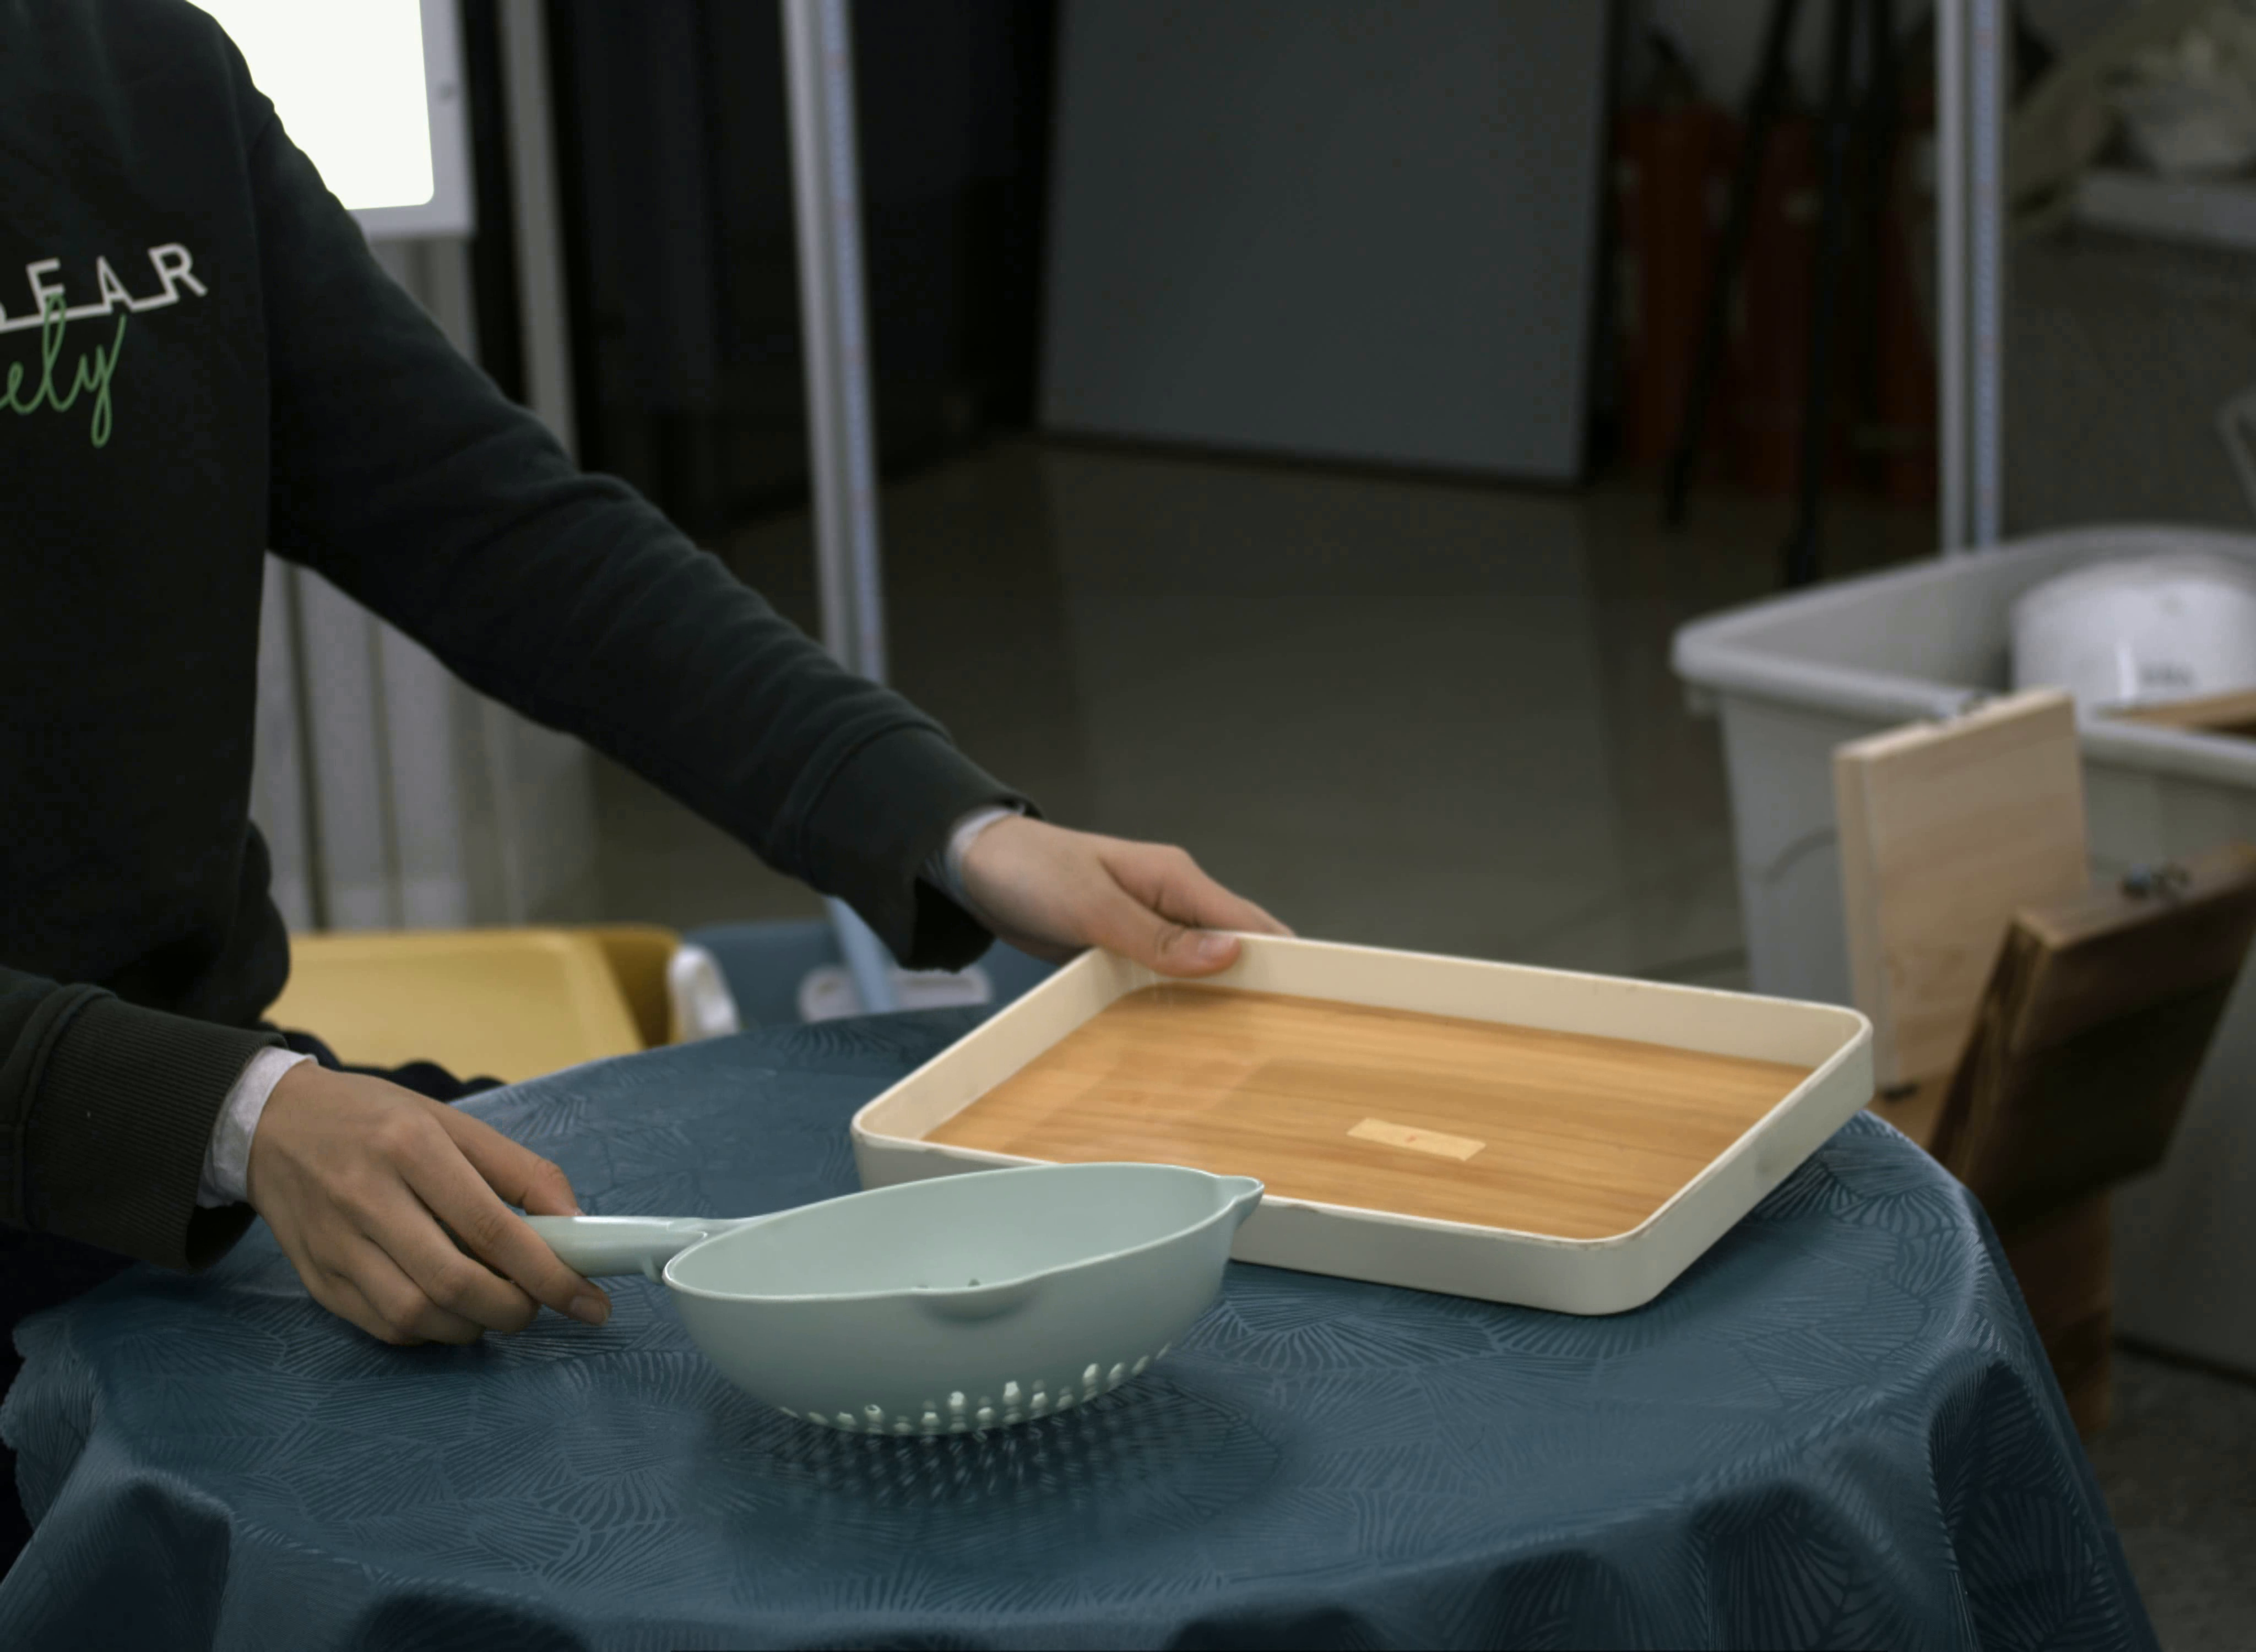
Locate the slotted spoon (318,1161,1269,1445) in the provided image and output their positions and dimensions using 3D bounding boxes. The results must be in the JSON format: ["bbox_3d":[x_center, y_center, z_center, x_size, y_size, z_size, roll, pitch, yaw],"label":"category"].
[{"bbox_3d":[-0.122,0.133,1.627,0.361,0.076,0.166,8,14,40],"label":"slotted spoon"}]

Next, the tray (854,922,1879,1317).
[{"bbox_3d":[0.077,0.092,1.763,0.302,0.027,0.189,6,25,34],"label":"tray"}]
